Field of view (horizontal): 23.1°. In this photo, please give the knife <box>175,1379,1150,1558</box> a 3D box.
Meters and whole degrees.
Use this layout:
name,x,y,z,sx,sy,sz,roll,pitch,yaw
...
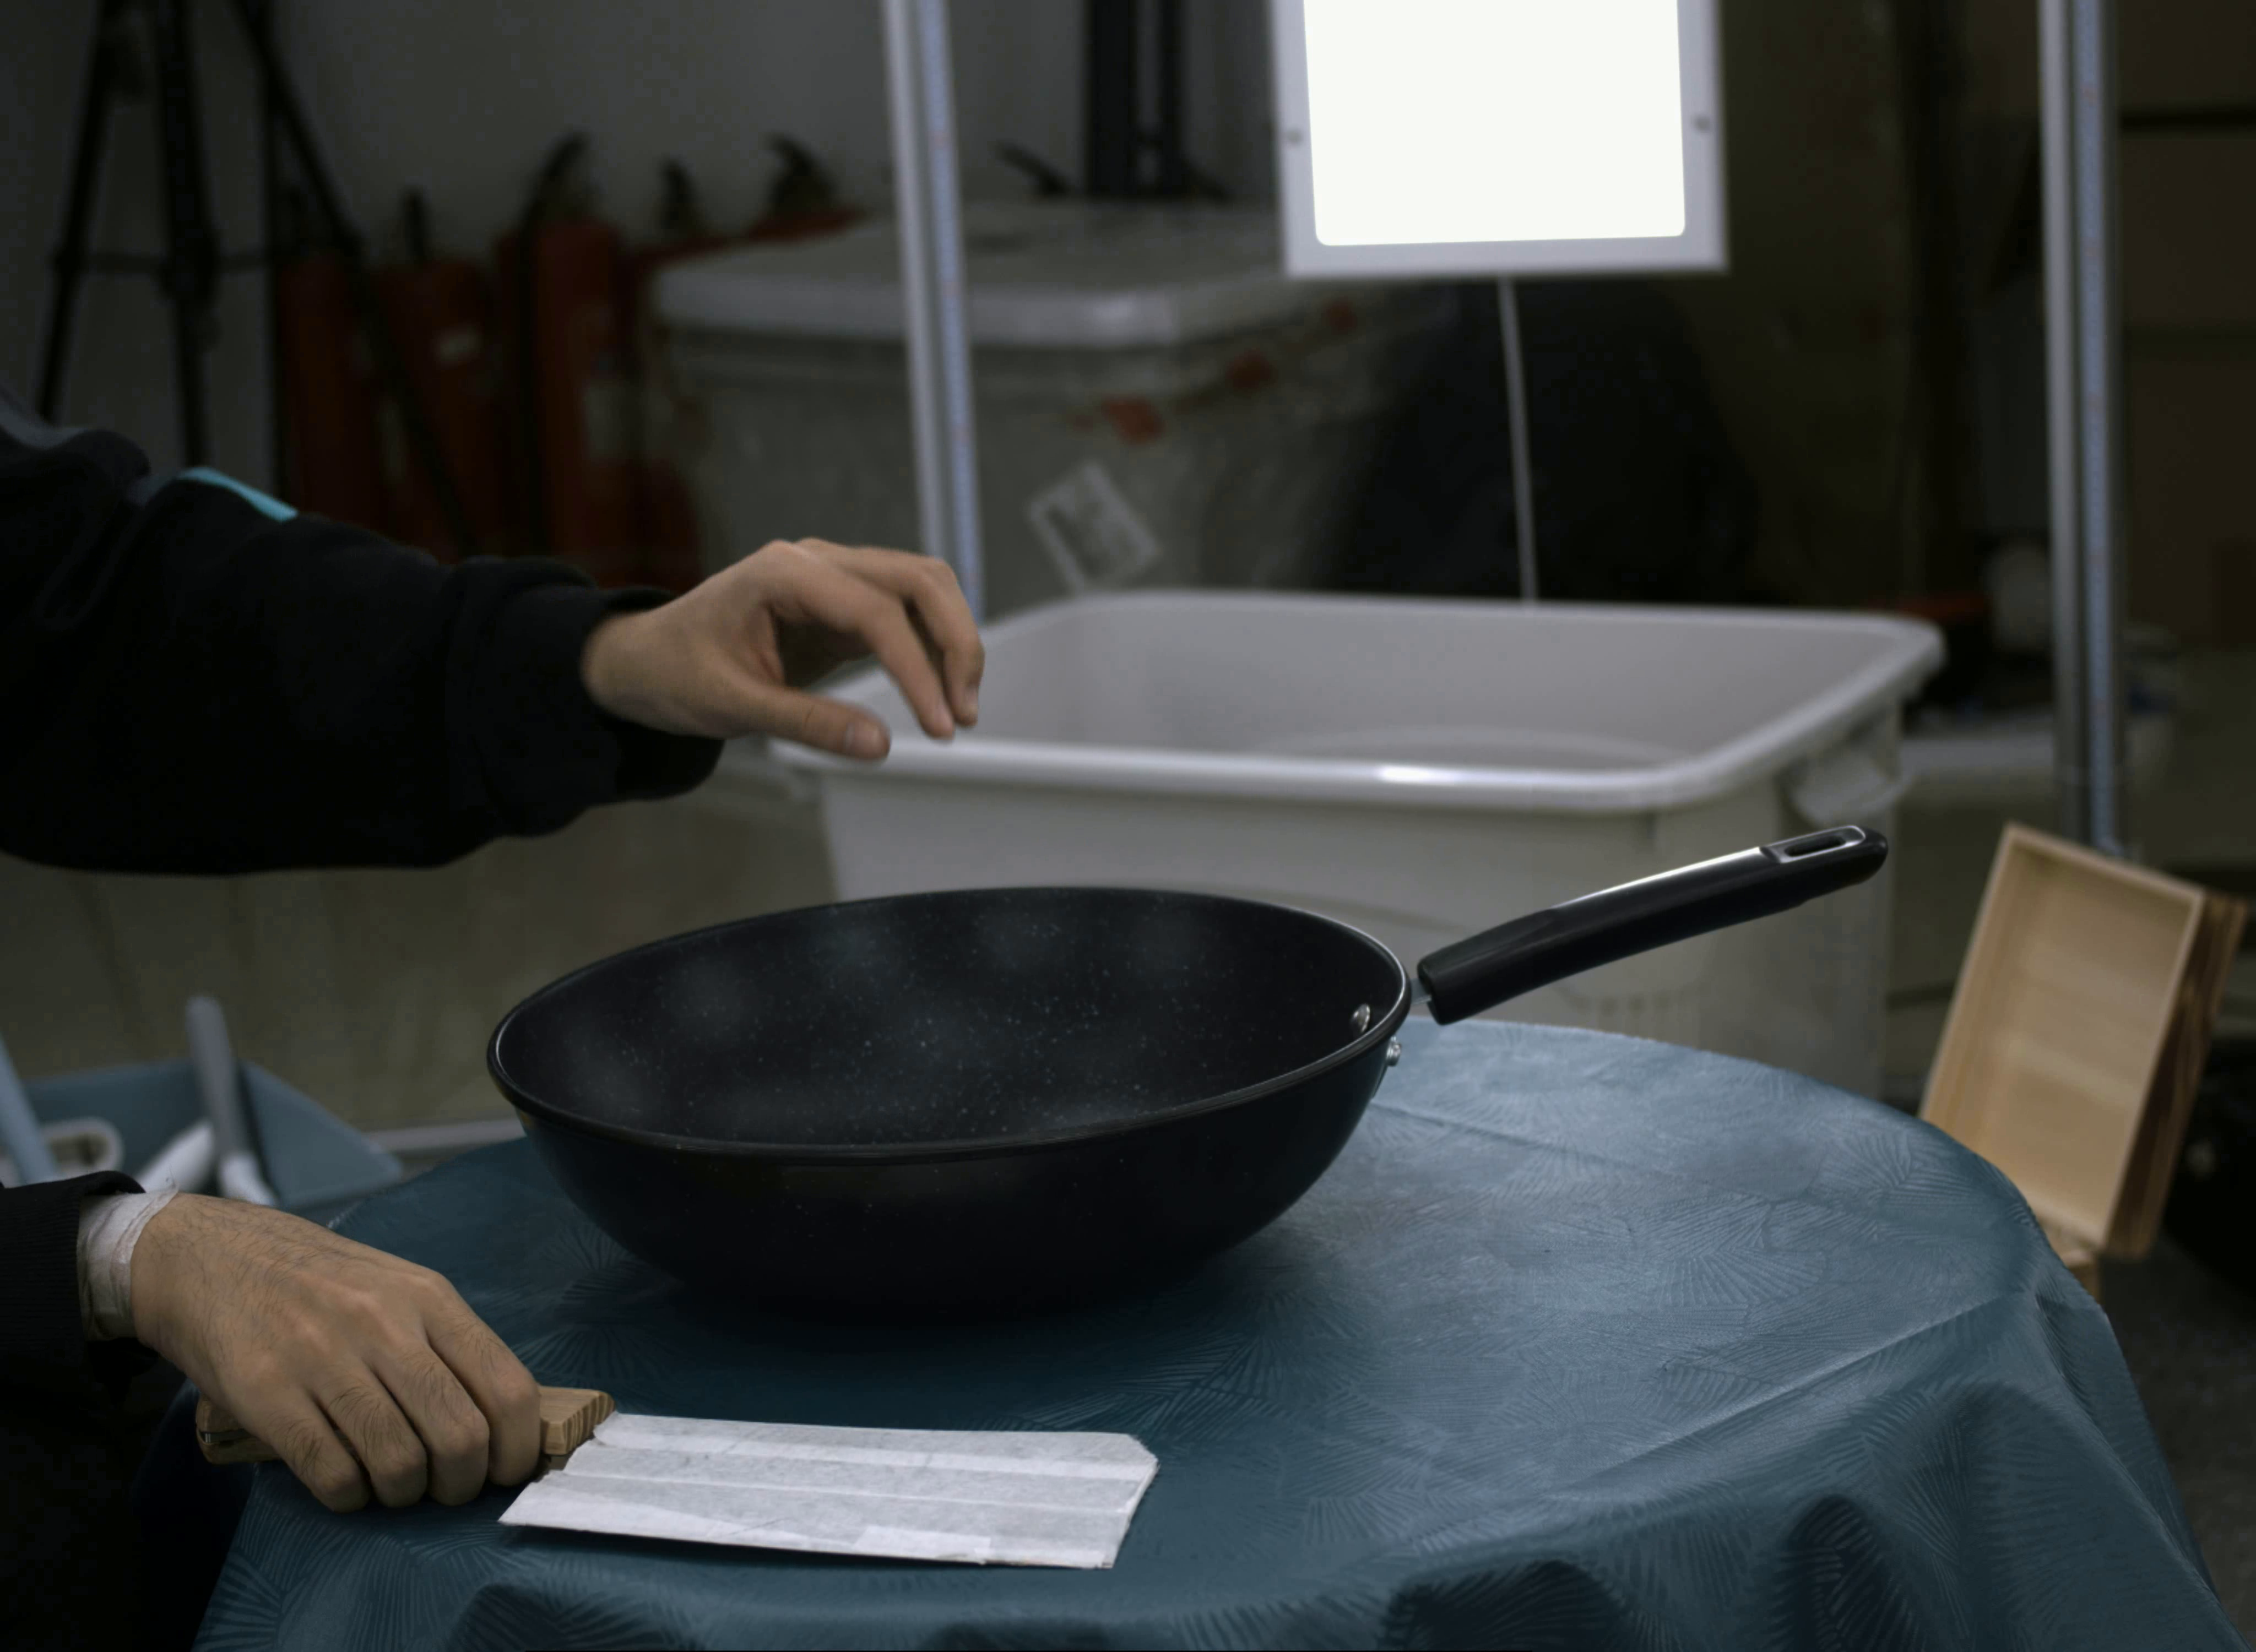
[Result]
name,x,y,z,sx,sy,sz,roll,pitch,yaw
knife,-0.141,0.191,1.652,0.319,0.022,0.112,3,16,20

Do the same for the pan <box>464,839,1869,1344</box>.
name,x,y,z,sx,sy,sz,roll,pitch,yaw
pan,0.018,0.084,1.844,0.474,0.112,0.311,-6,16,-4
